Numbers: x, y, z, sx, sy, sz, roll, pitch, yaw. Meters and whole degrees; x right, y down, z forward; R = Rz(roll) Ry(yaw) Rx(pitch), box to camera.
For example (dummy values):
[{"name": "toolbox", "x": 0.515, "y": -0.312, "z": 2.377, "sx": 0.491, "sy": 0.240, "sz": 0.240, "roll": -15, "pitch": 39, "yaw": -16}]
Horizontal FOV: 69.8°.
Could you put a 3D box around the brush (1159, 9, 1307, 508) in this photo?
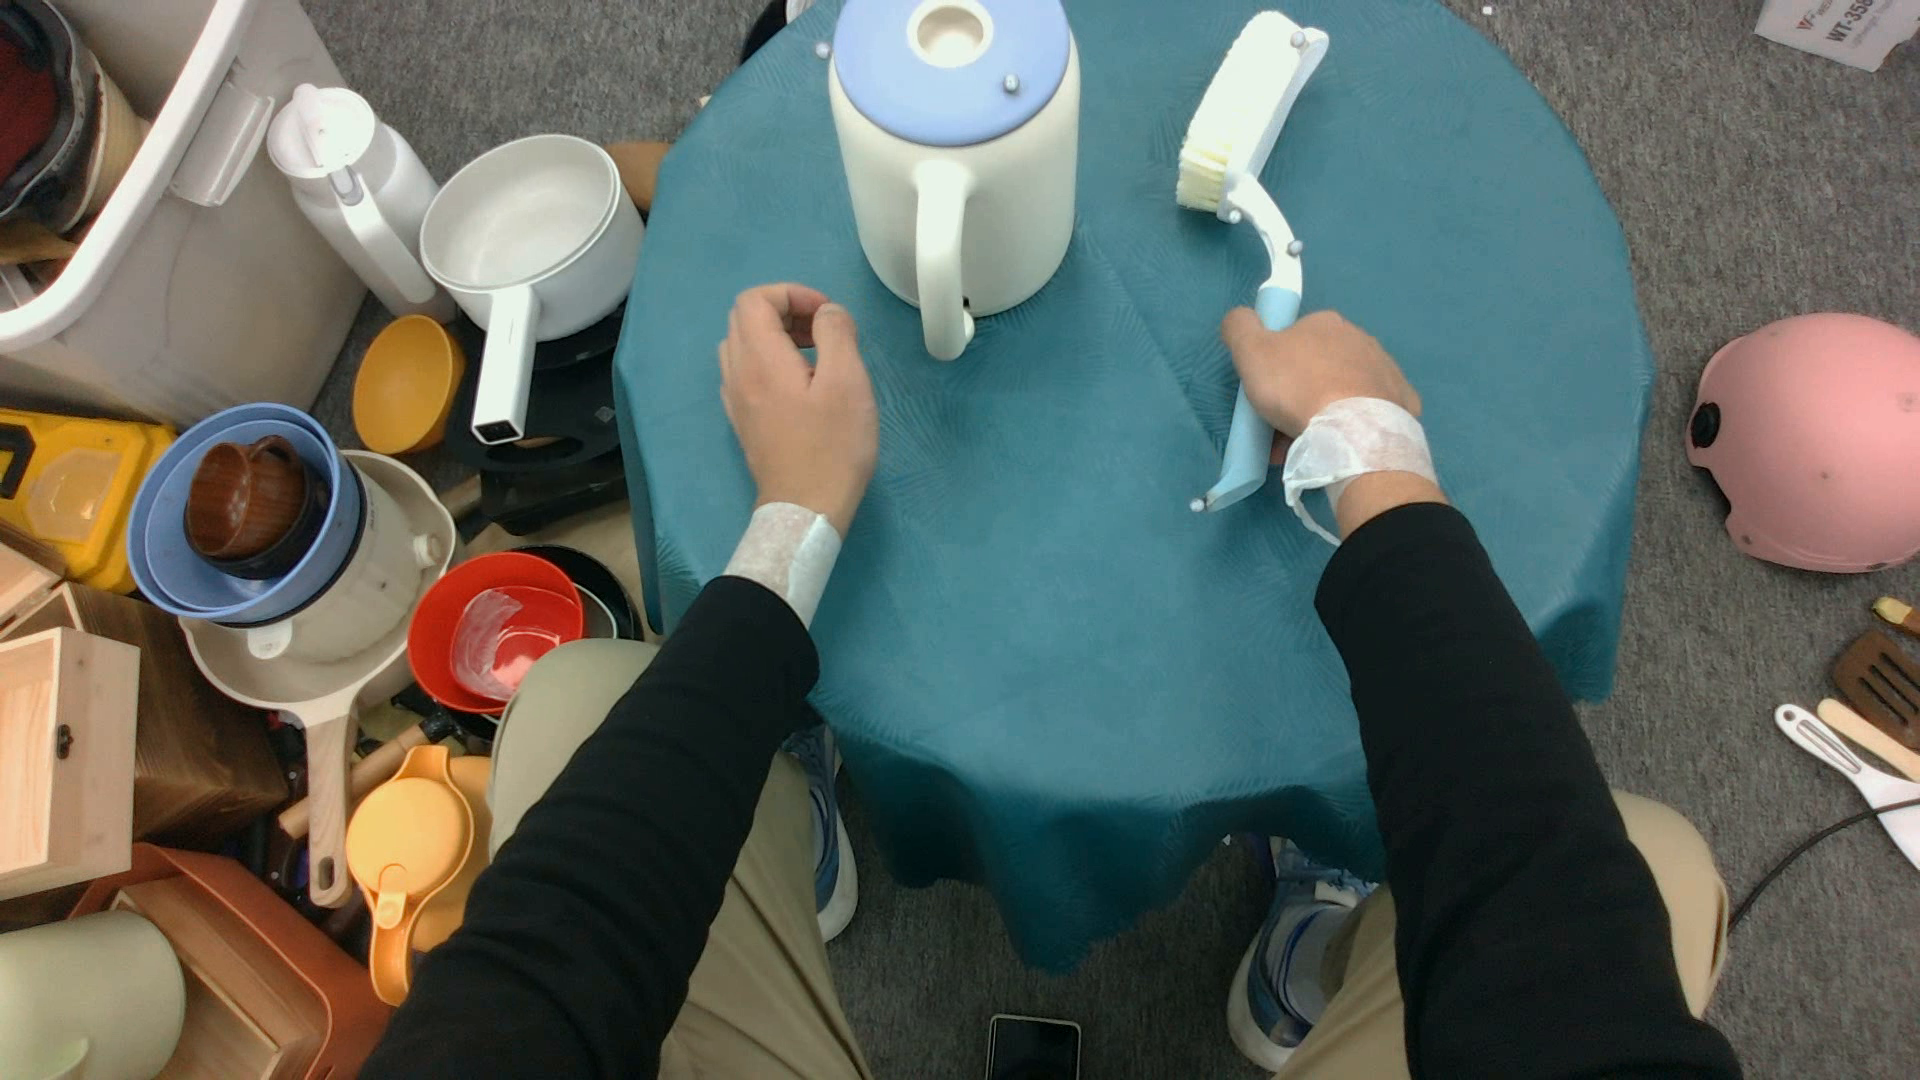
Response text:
[{"name": "brush", "x": 0.136, "y": -0.174, "z": 0.790, "sx": 0.084, "sy": 0.083, "sz": 0.326, "roll": -5, "pitch": 63, "yaw": 44}]

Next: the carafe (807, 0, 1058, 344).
[{"name": "carafe", "x": -0.014, "y": -0.206, "z": 0.756, "sx": 0.132, "sy": 0.182, "sz": 0.191, "roll": 1, "pitch": 72, "yaw": 3}]
